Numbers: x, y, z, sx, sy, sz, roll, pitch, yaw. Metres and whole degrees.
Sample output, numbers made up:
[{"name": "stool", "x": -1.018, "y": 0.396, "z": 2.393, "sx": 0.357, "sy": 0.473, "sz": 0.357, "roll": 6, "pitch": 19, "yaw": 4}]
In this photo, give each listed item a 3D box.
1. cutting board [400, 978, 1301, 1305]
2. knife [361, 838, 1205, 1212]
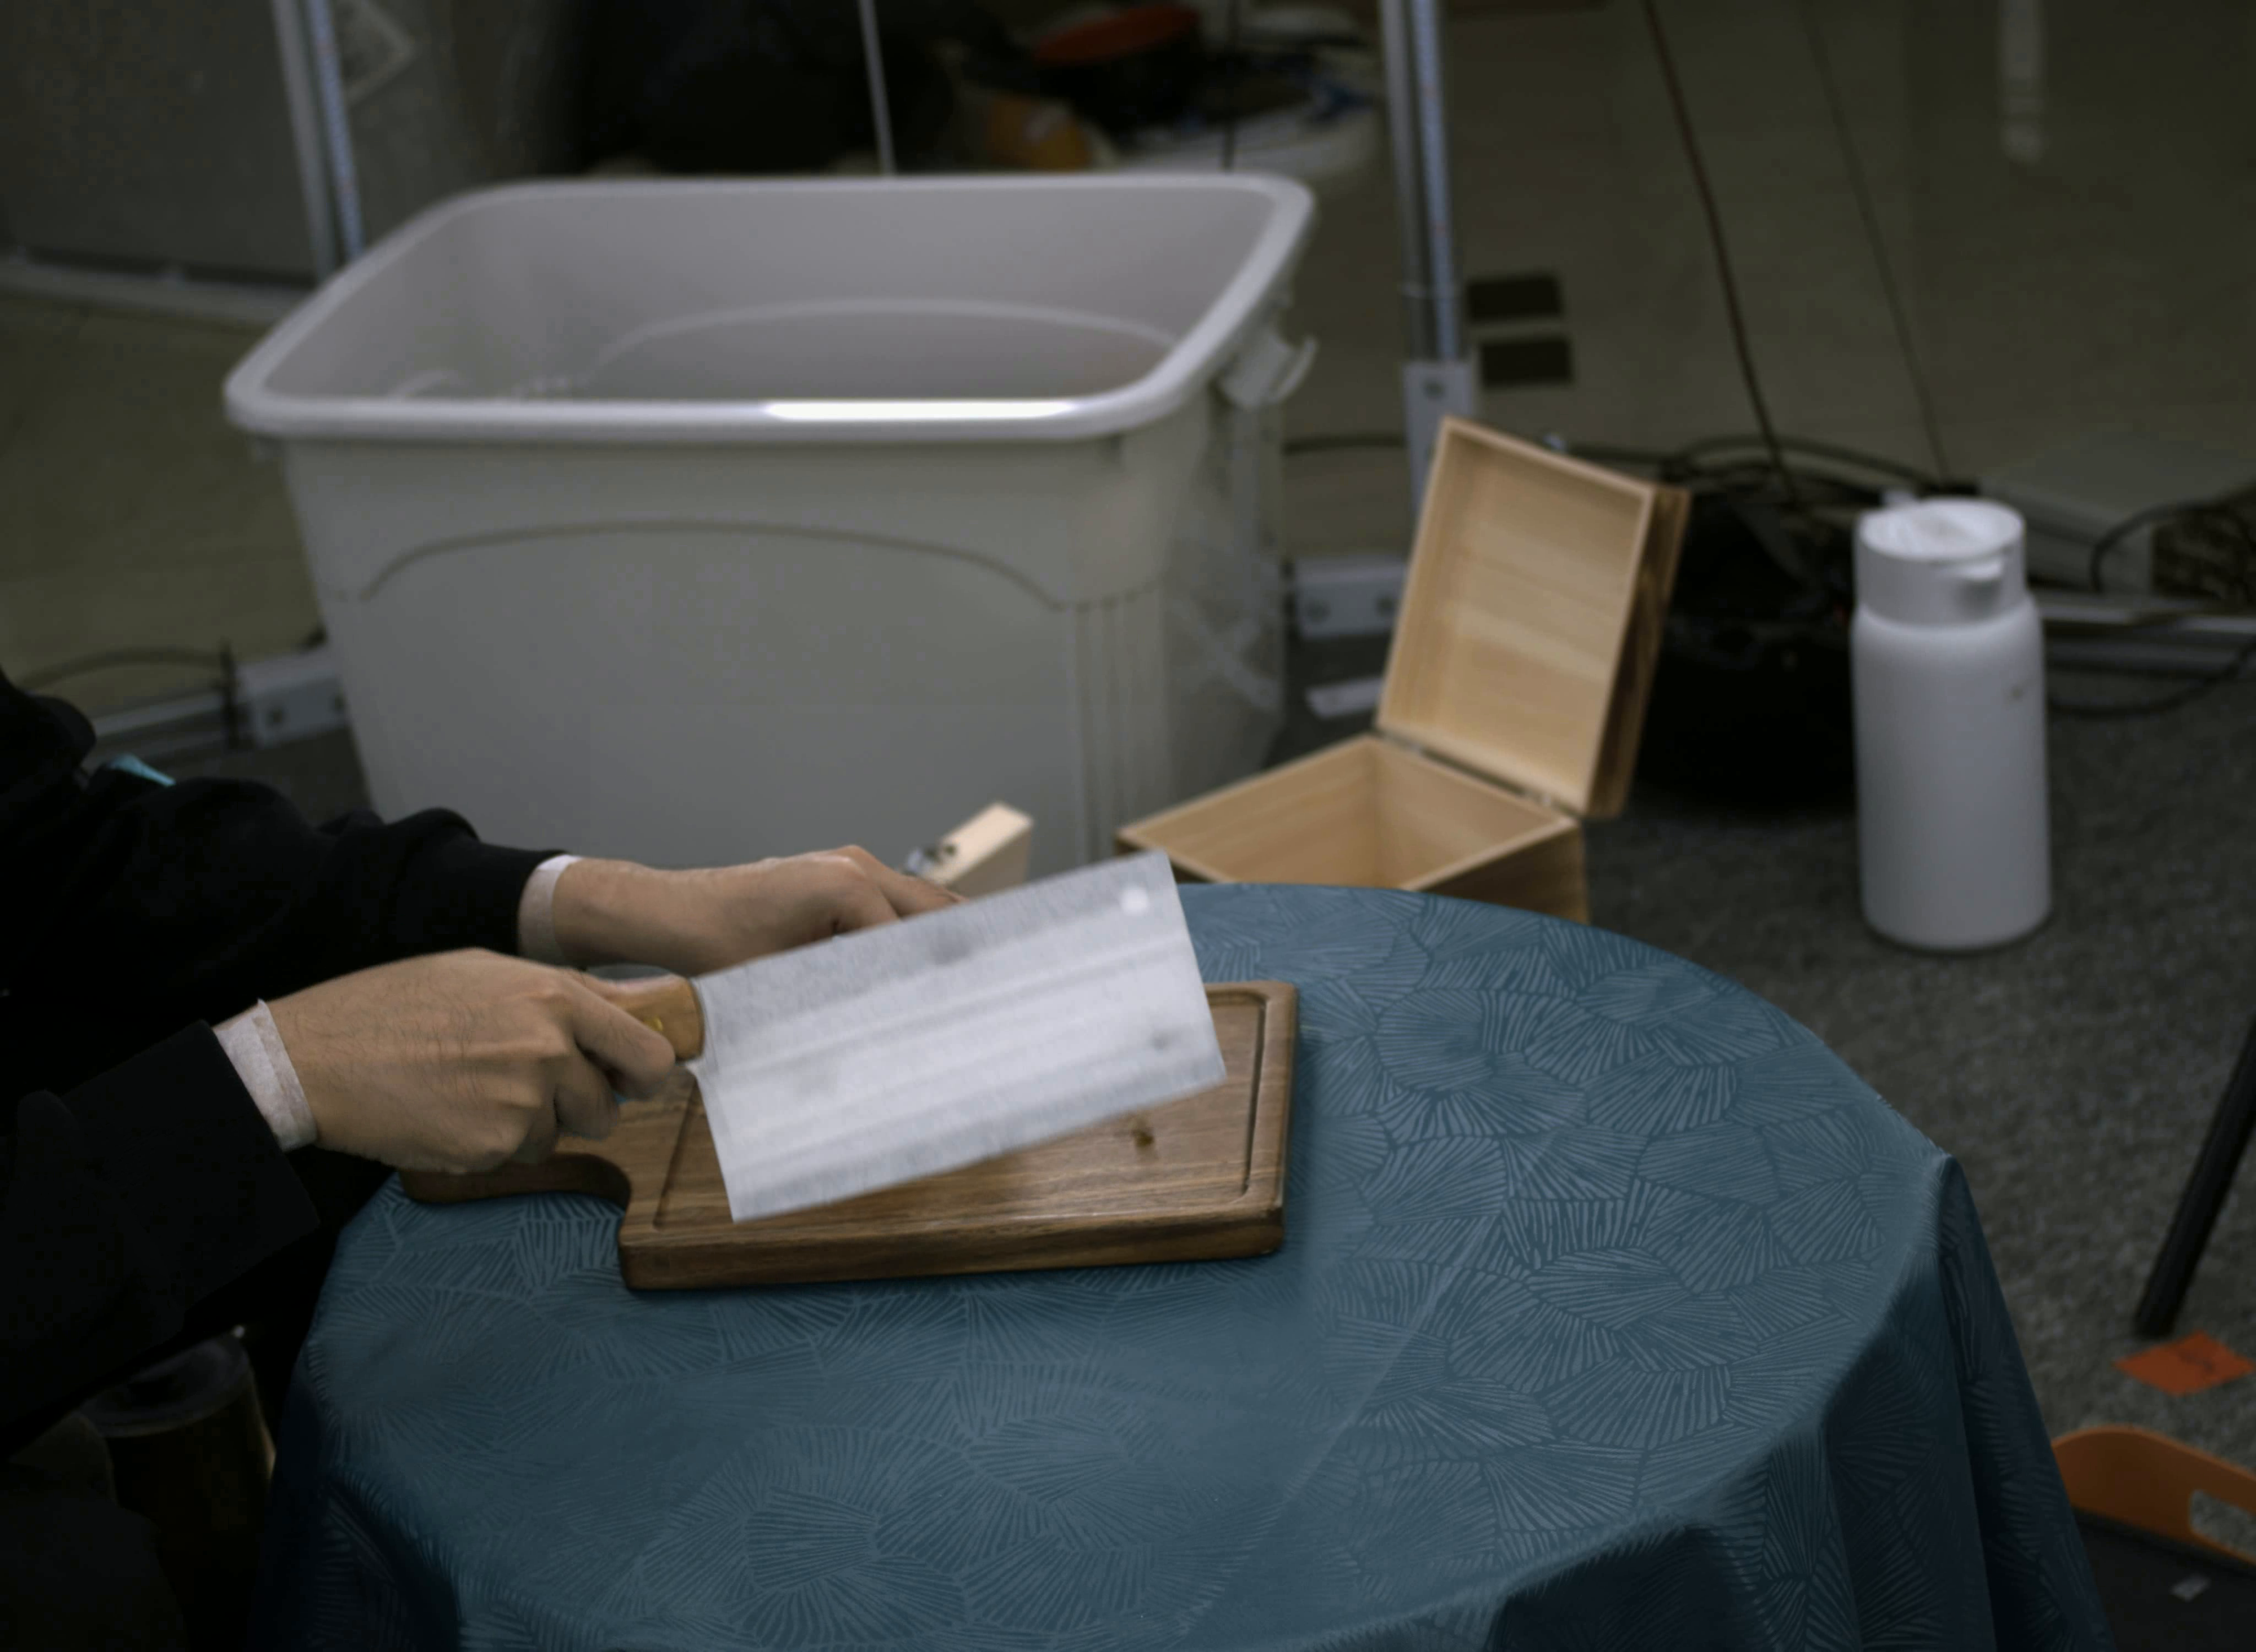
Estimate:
[{"name": "cutting board", "x": -0.109, "y": 0.124, "z": 2.192, "sx": 0.352, "sy": 0.023, "sz": 0.198, "roll": -6, "pitch": 23, "yaw": 7}, {"name": "knife", "x": -0.120, "y": 0.086, "z": 2.046, "sx": 0.305, "sy": 0.093, "sz": 0.021, "roll": -16, "pitch": 7, "yaw": -11}]
